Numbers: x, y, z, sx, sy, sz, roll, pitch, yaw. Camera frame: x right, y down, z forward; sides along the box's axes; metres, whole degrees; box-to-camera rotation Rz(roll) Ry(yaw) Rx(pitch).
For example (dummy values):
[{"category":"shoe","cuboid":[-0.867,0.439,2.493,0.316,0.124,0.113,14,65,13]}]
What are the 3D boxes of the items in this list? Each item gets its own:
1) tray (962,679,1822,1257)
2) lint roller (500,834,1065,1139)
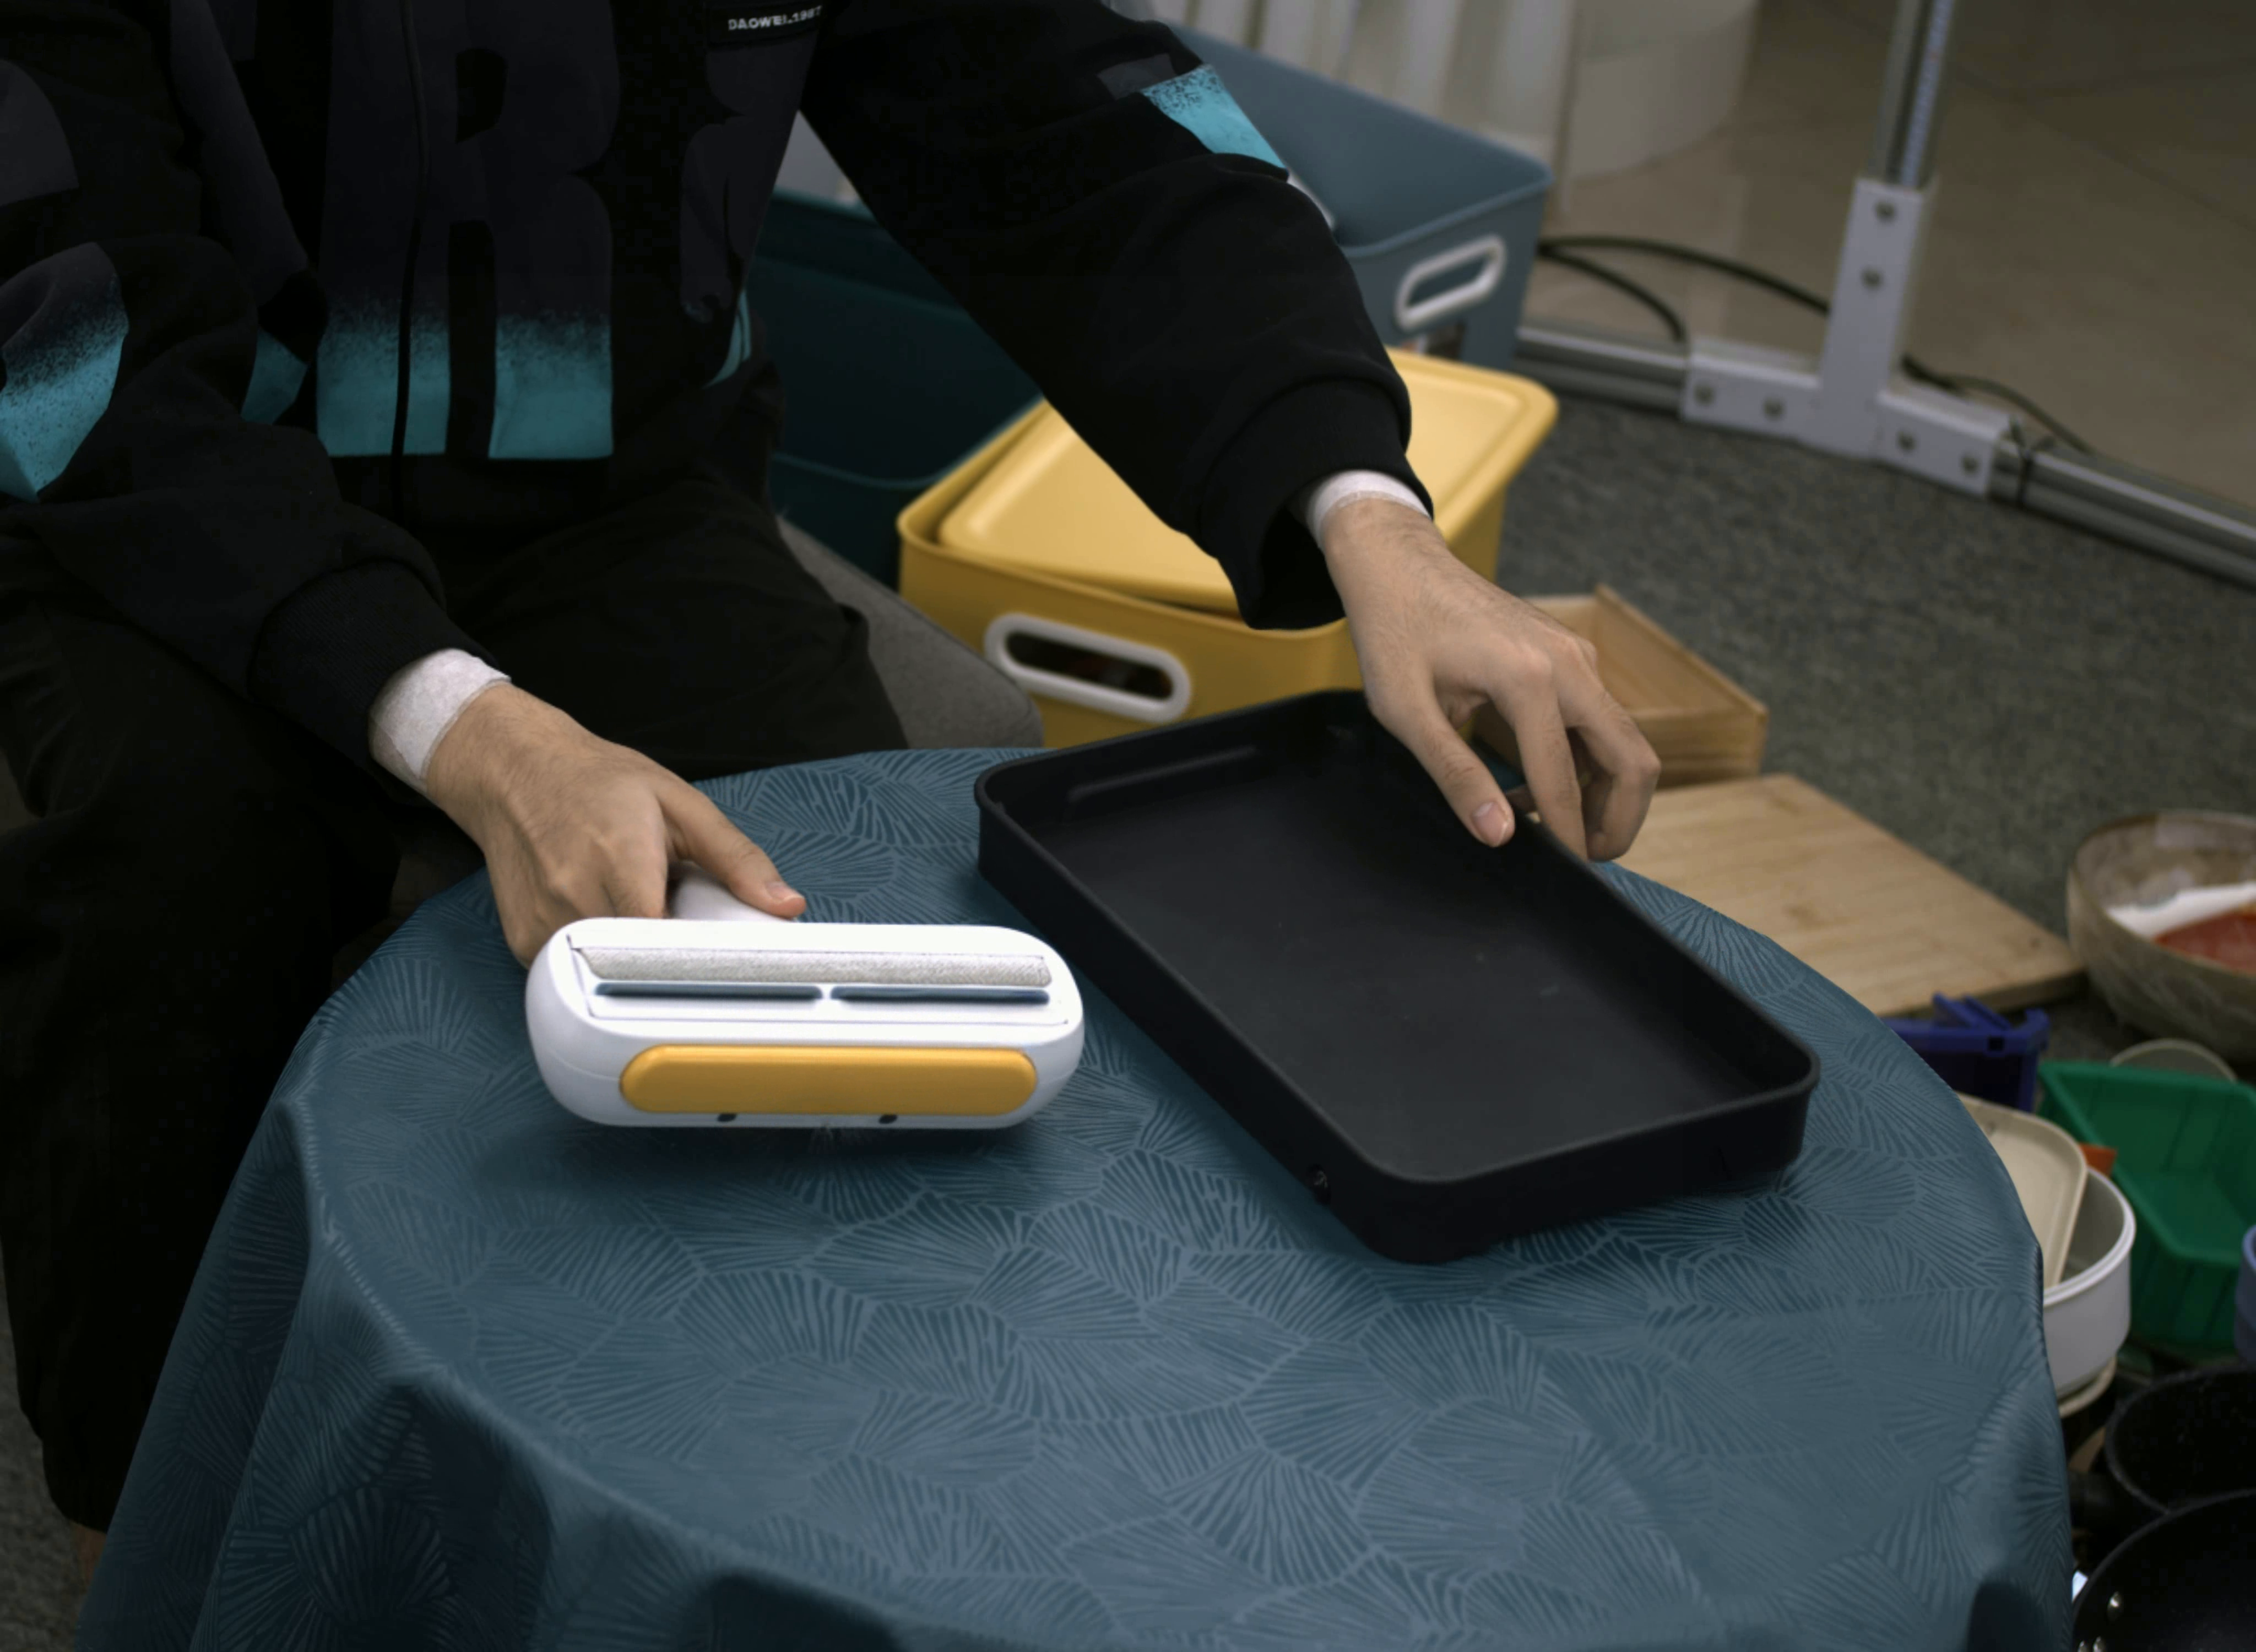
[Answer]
[{"category":"tray","cuboid":[0.089,0.045,1.920,0.183,0.037,0.321,-15,34,-27]},{"category":"lint roller","cuboid":[-0.131,0.043,1.842,0.191,0.074,0.194,0,31,-17]}]
